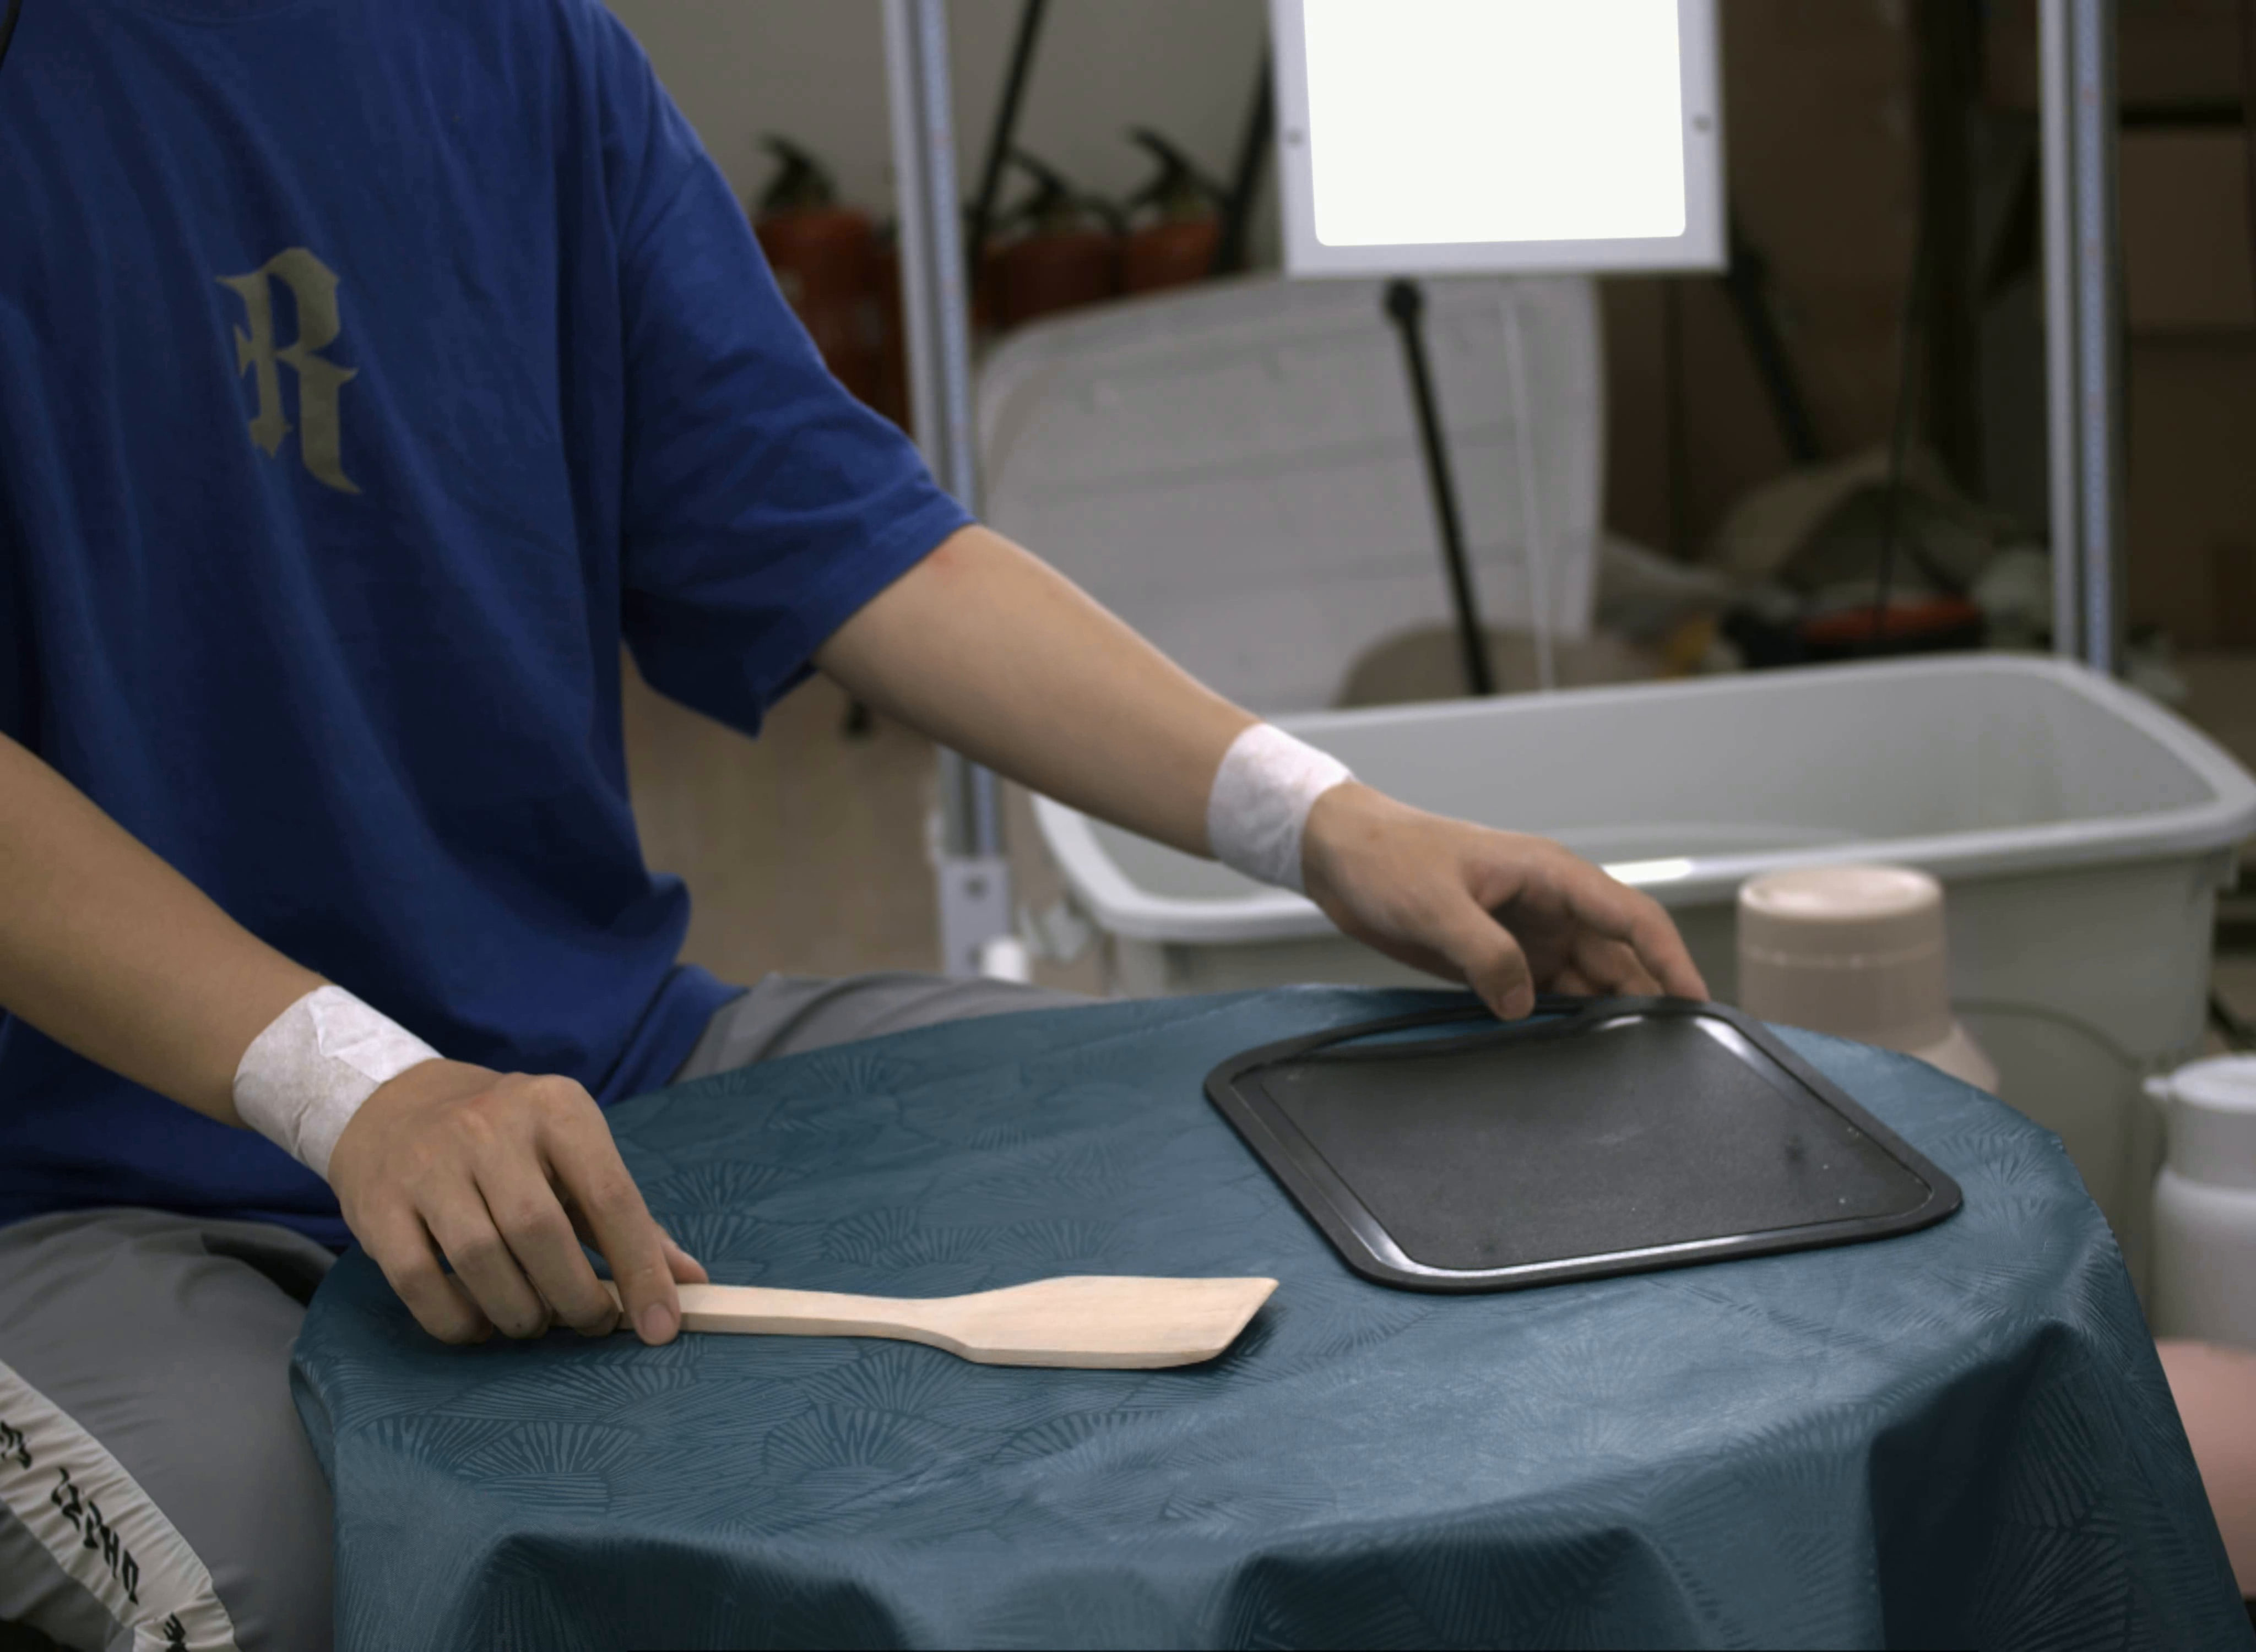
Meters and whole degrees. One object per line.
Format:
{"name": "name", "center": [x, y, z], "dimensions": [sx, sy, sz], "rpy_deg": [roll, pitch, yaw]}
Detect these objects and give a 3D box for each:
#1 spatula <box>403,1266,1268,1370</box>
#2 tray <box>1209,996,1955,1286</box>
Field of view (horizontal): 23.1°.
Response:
{"name": "spatula", "center": [-0.101, 0.157, 1.790], "dimensions": [0.297, 0.011, 0.071], "rpy_deg": [1, 16, 21]}
{"name": "tray", "center": [0.150, 0.104, 1.920], "dimensions": [0.209, 0.010, 0.327], "rpy_deg": [-7, 14, -9]}
